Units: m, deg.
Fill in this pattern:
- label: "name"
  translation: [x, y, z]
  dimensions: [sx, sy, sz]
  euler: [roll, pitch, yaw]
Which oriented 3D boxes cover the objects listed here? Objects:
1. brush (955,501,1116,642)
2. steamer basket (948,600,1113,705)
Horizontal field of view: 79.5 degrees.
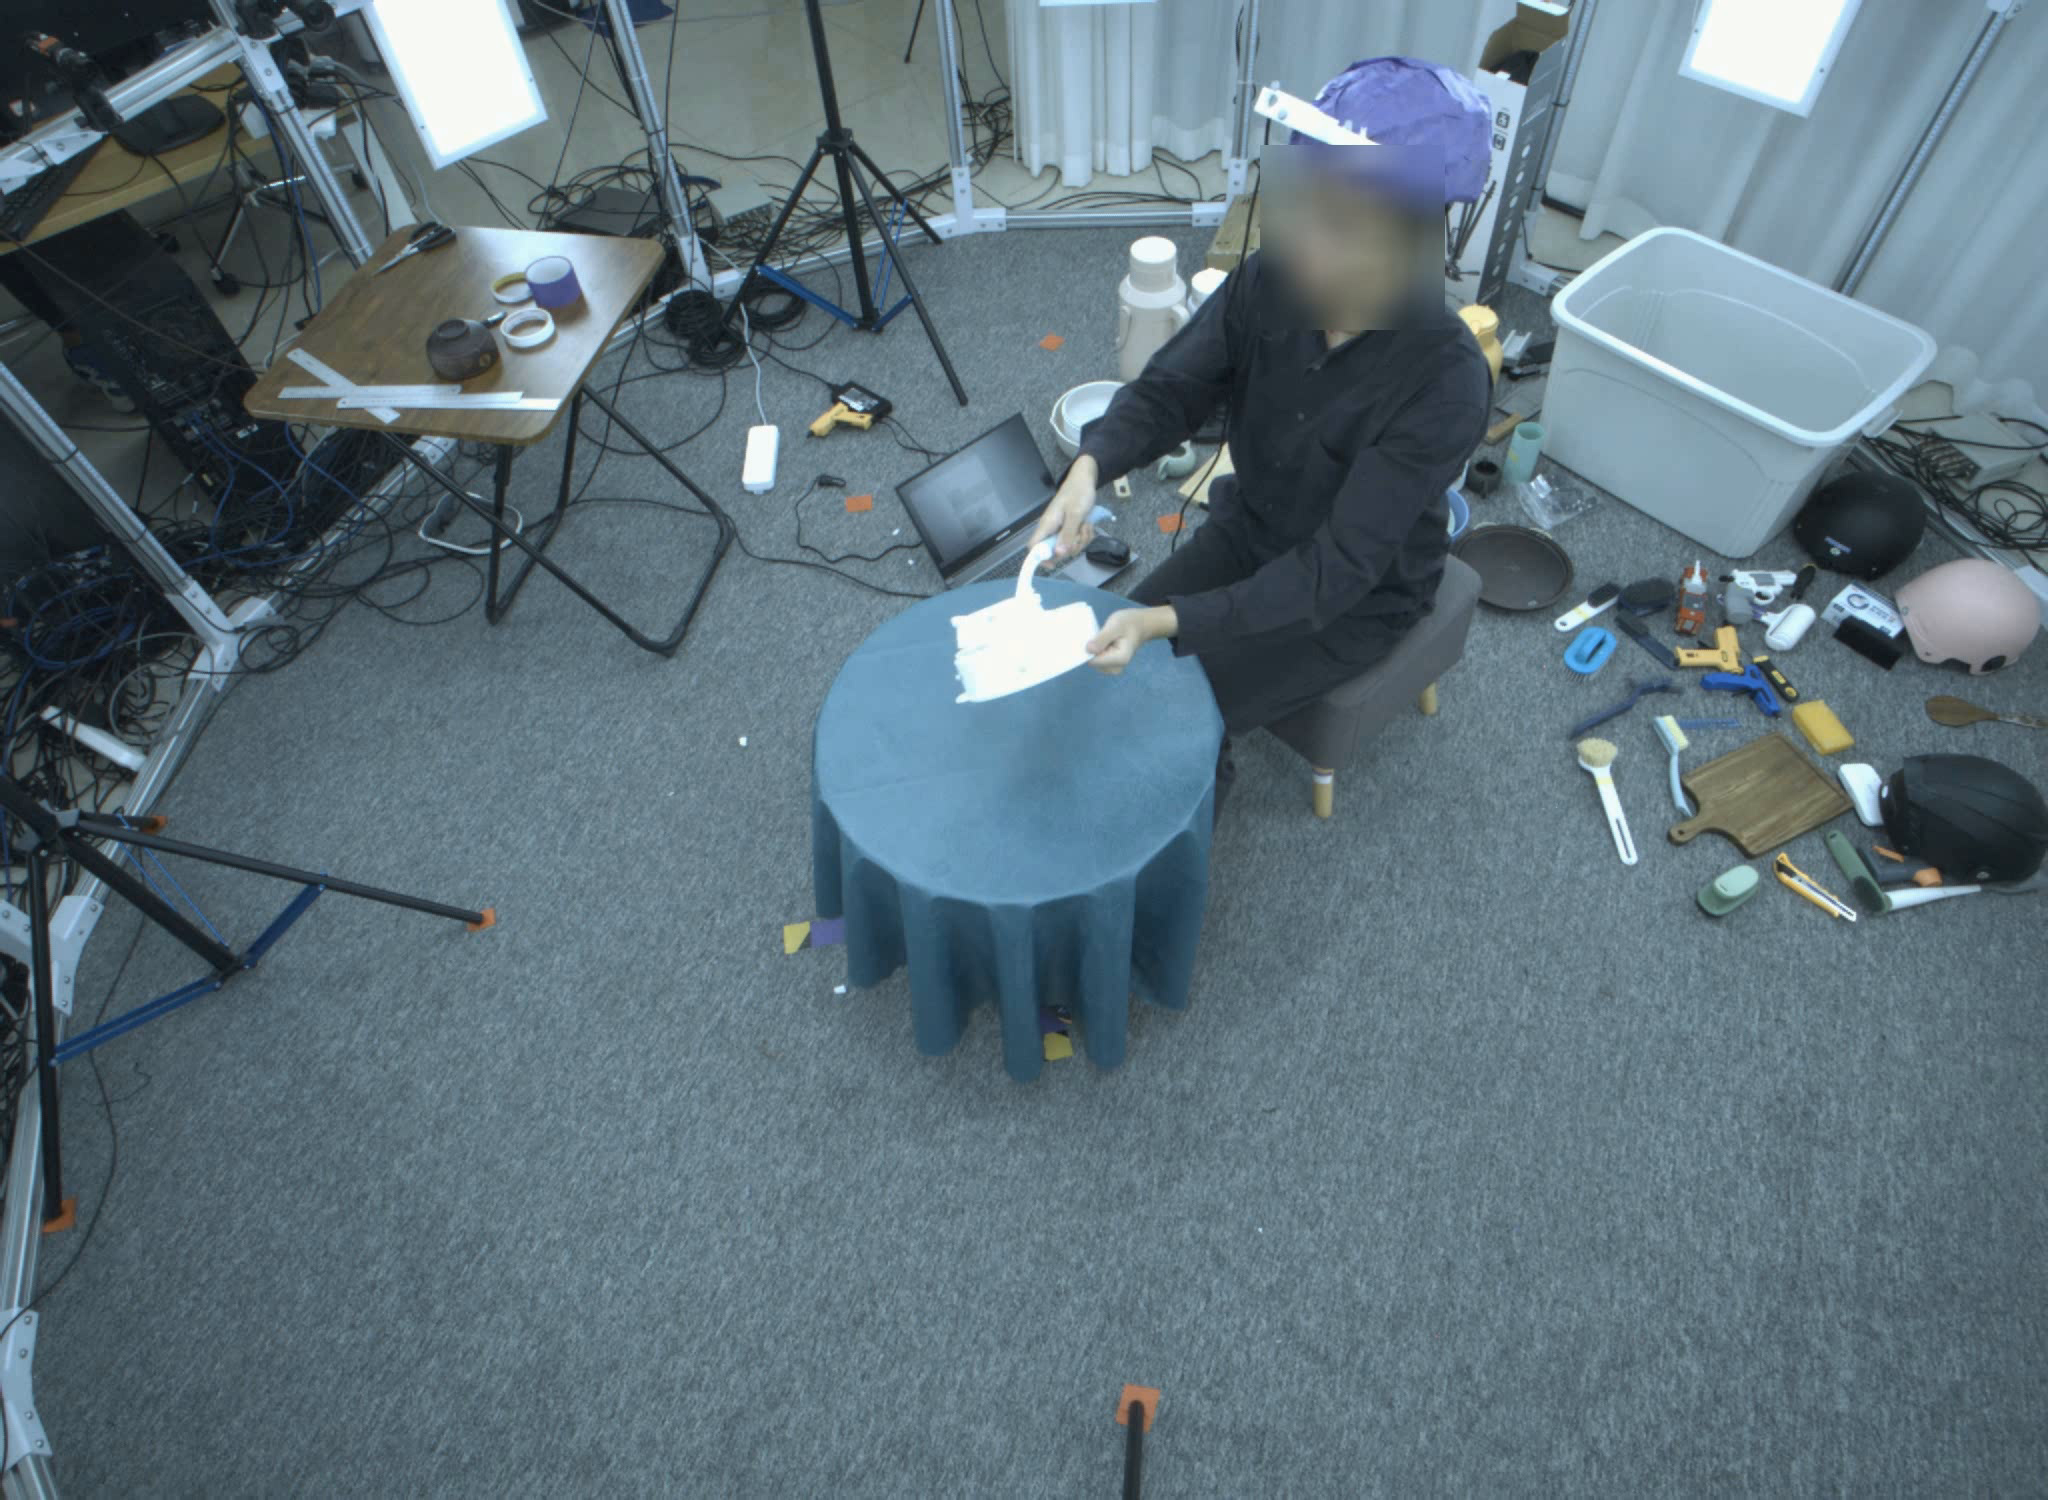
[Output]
- label: "brush"
  translation: [0.034, -0.223, 1.627]
  dimensions: [0.082, 0.085, 0.328]
  euler: [34, 54, 21]
- label: "steamer basket"
  translation: [0.000, -0.132, 1.609]
  dimensions: [0.230, 0.070, 0.201]
  euler: [-22, 12, 7]
